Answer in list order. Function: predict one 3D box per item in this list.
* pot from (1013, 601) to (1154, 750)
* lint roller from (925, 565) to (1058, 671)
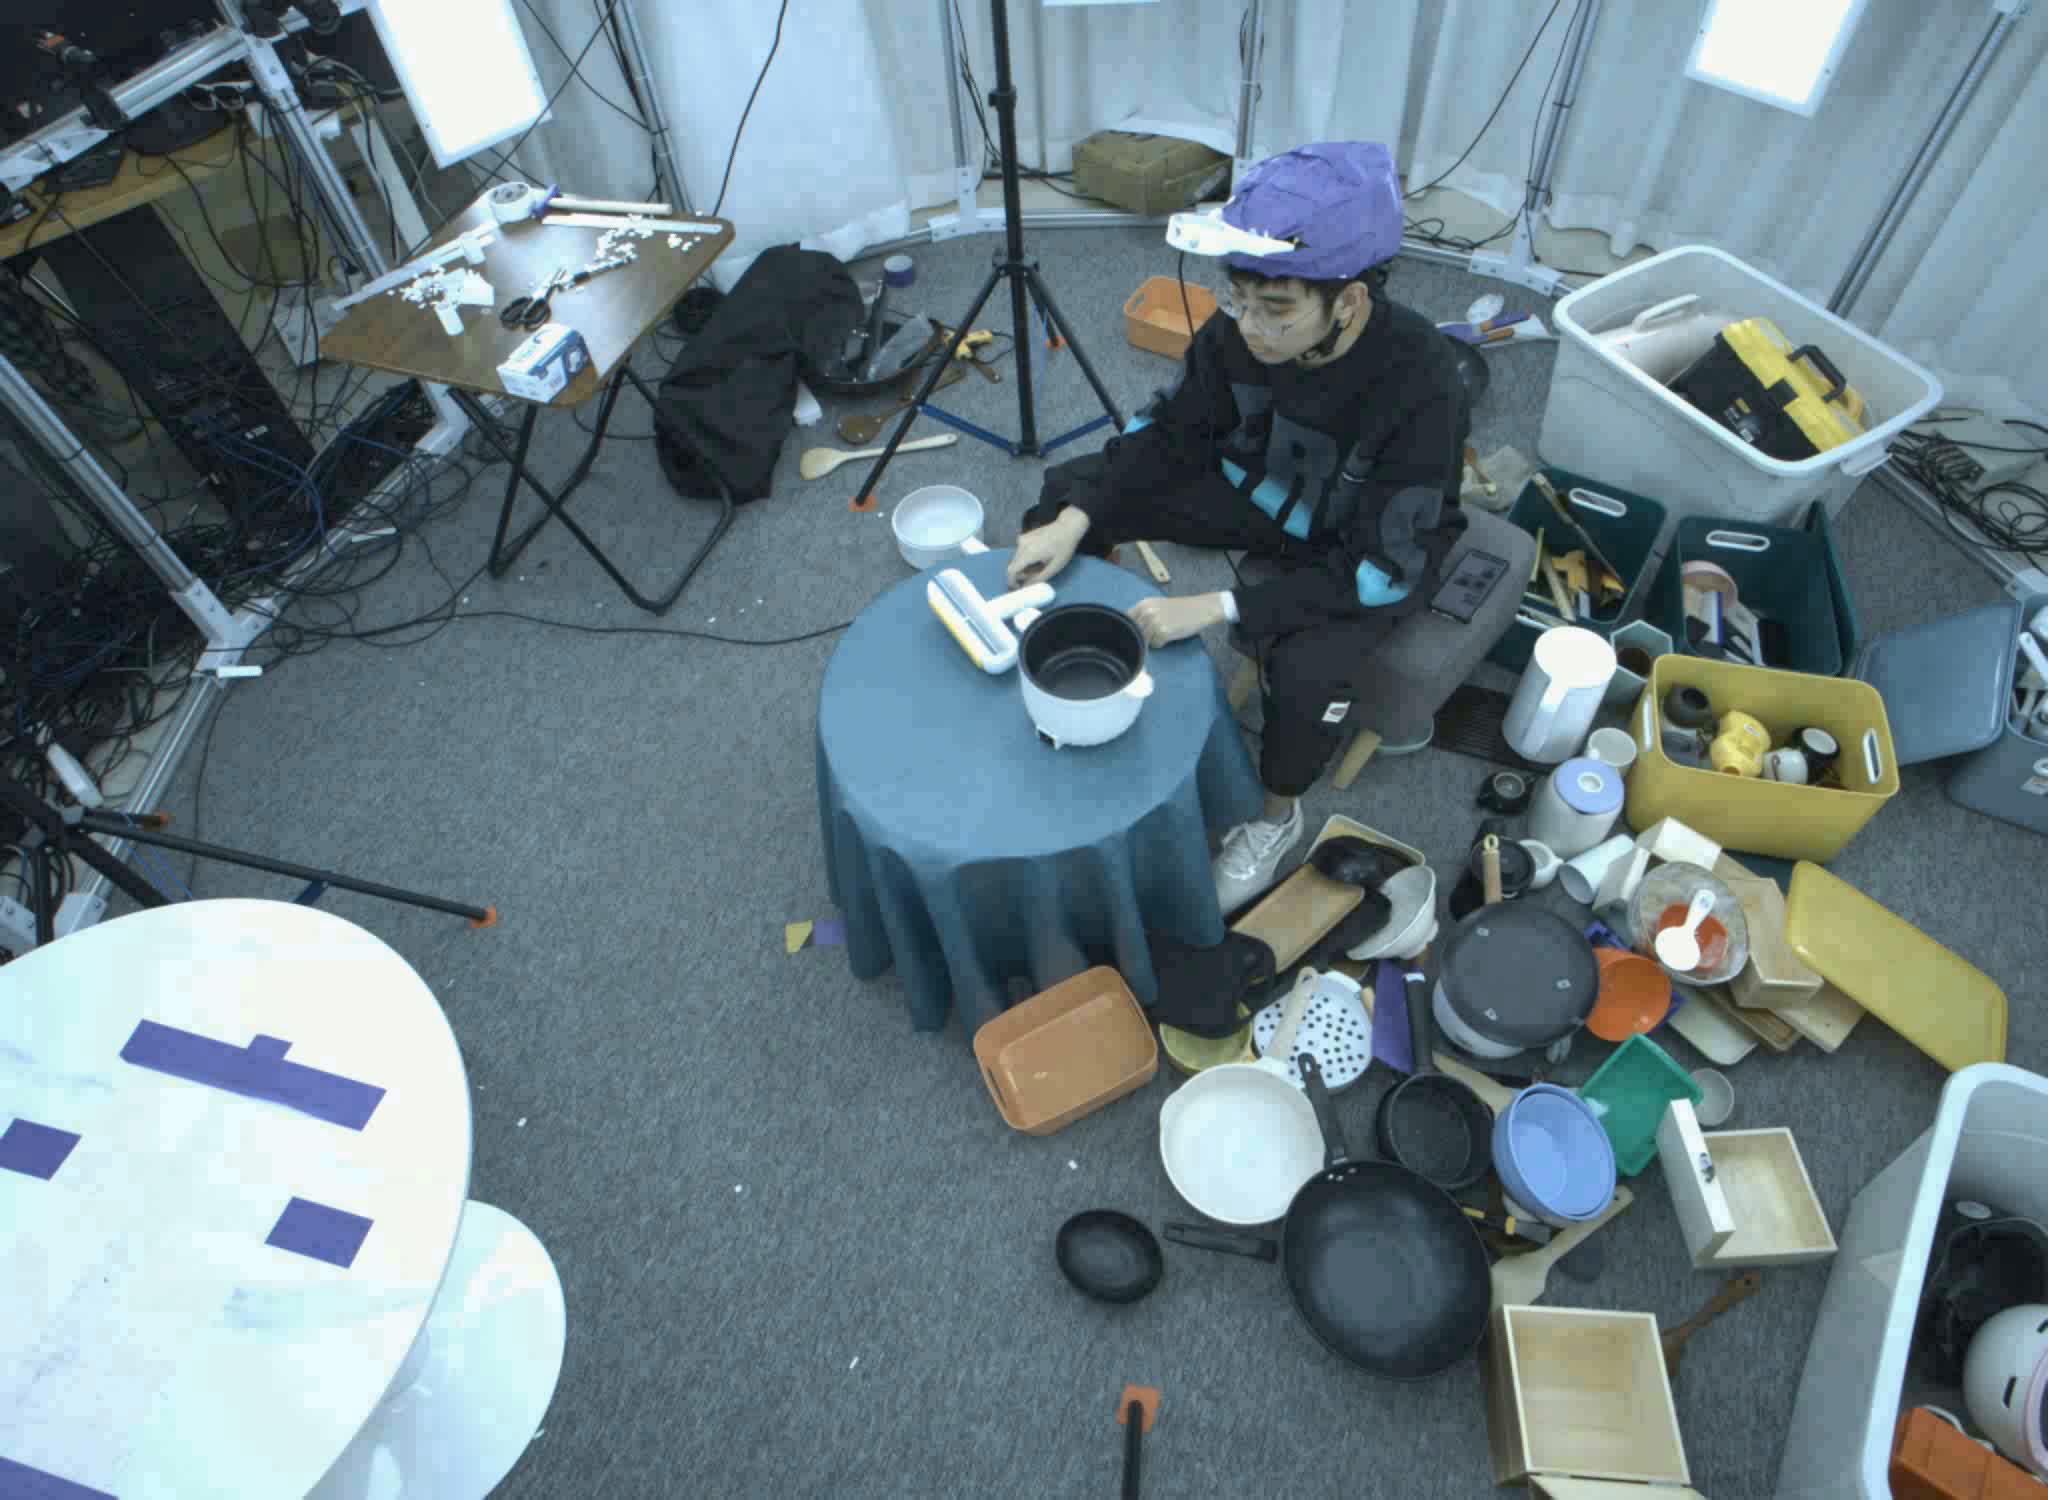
[{"bbox_3d":[0.087,-0.106,1.769,0.236,0.144,0.191,33,65,22],"label":"pot"},{"bbox_3d":[-0.033,-0.223,1.900,0.194,0.075,0.189,-27,63,-18],"label":"lint roller"}]
